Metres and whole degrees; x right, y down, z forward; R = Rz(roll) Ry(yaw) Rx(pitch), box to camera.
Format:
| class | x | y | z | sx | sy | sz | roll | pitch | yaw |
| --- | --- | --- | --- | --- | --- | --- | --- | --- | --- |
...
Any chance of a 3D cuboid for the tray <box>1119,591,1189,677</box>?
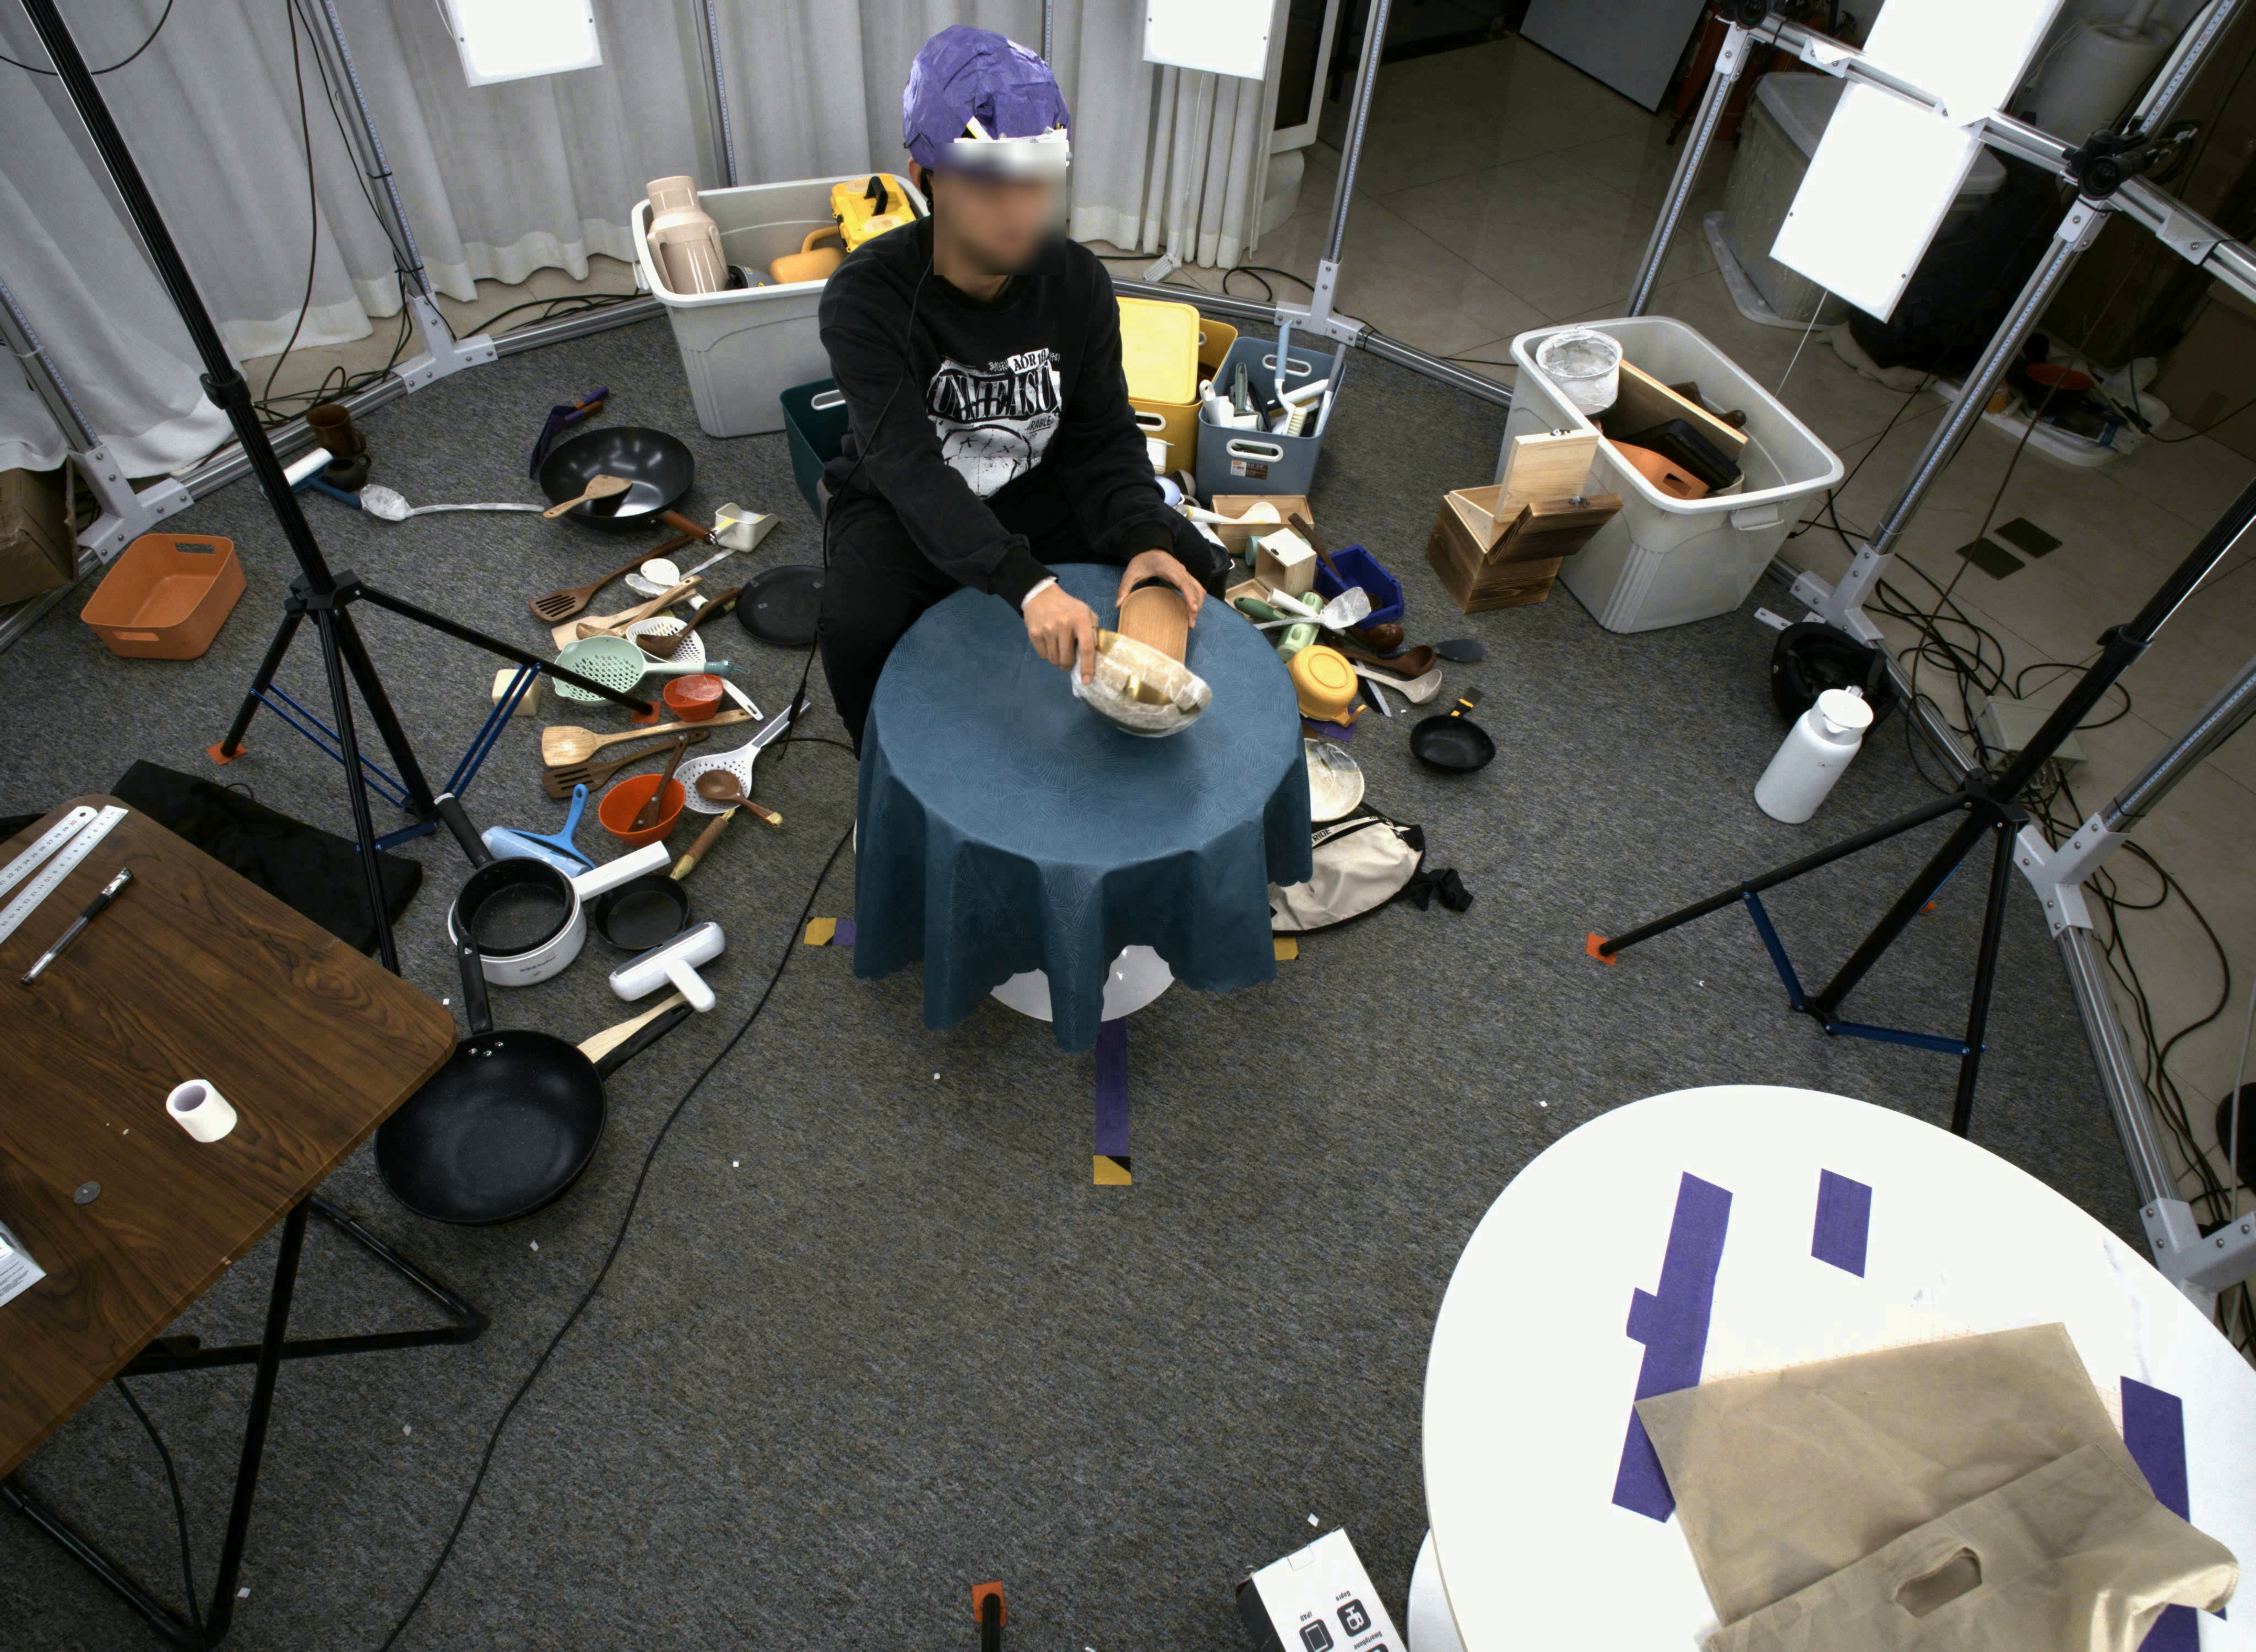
| class | x | y | z | sx | sy | sz | roll | pitch | yaw |
| --- | --- | --- | --- | --- | --- | --- | --- | --- | --- |
| tray | 0.035 | -0.247 | 1.867 | 0.102 | 0.020 | 0.236 | 3 | 60 | 4 |

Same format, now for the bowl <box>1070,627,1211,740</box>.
| class | x | y | z | sx | sy | sz | roll | pitch | yaw |
| --- | --- | --- | --- | --- | --- | --- | --- | --- | --- |
| bowl | 0.002 | -0.175 | 1.724 | 0.216 | 0.212 | 0.095 | 25 | 85 | 16 |
